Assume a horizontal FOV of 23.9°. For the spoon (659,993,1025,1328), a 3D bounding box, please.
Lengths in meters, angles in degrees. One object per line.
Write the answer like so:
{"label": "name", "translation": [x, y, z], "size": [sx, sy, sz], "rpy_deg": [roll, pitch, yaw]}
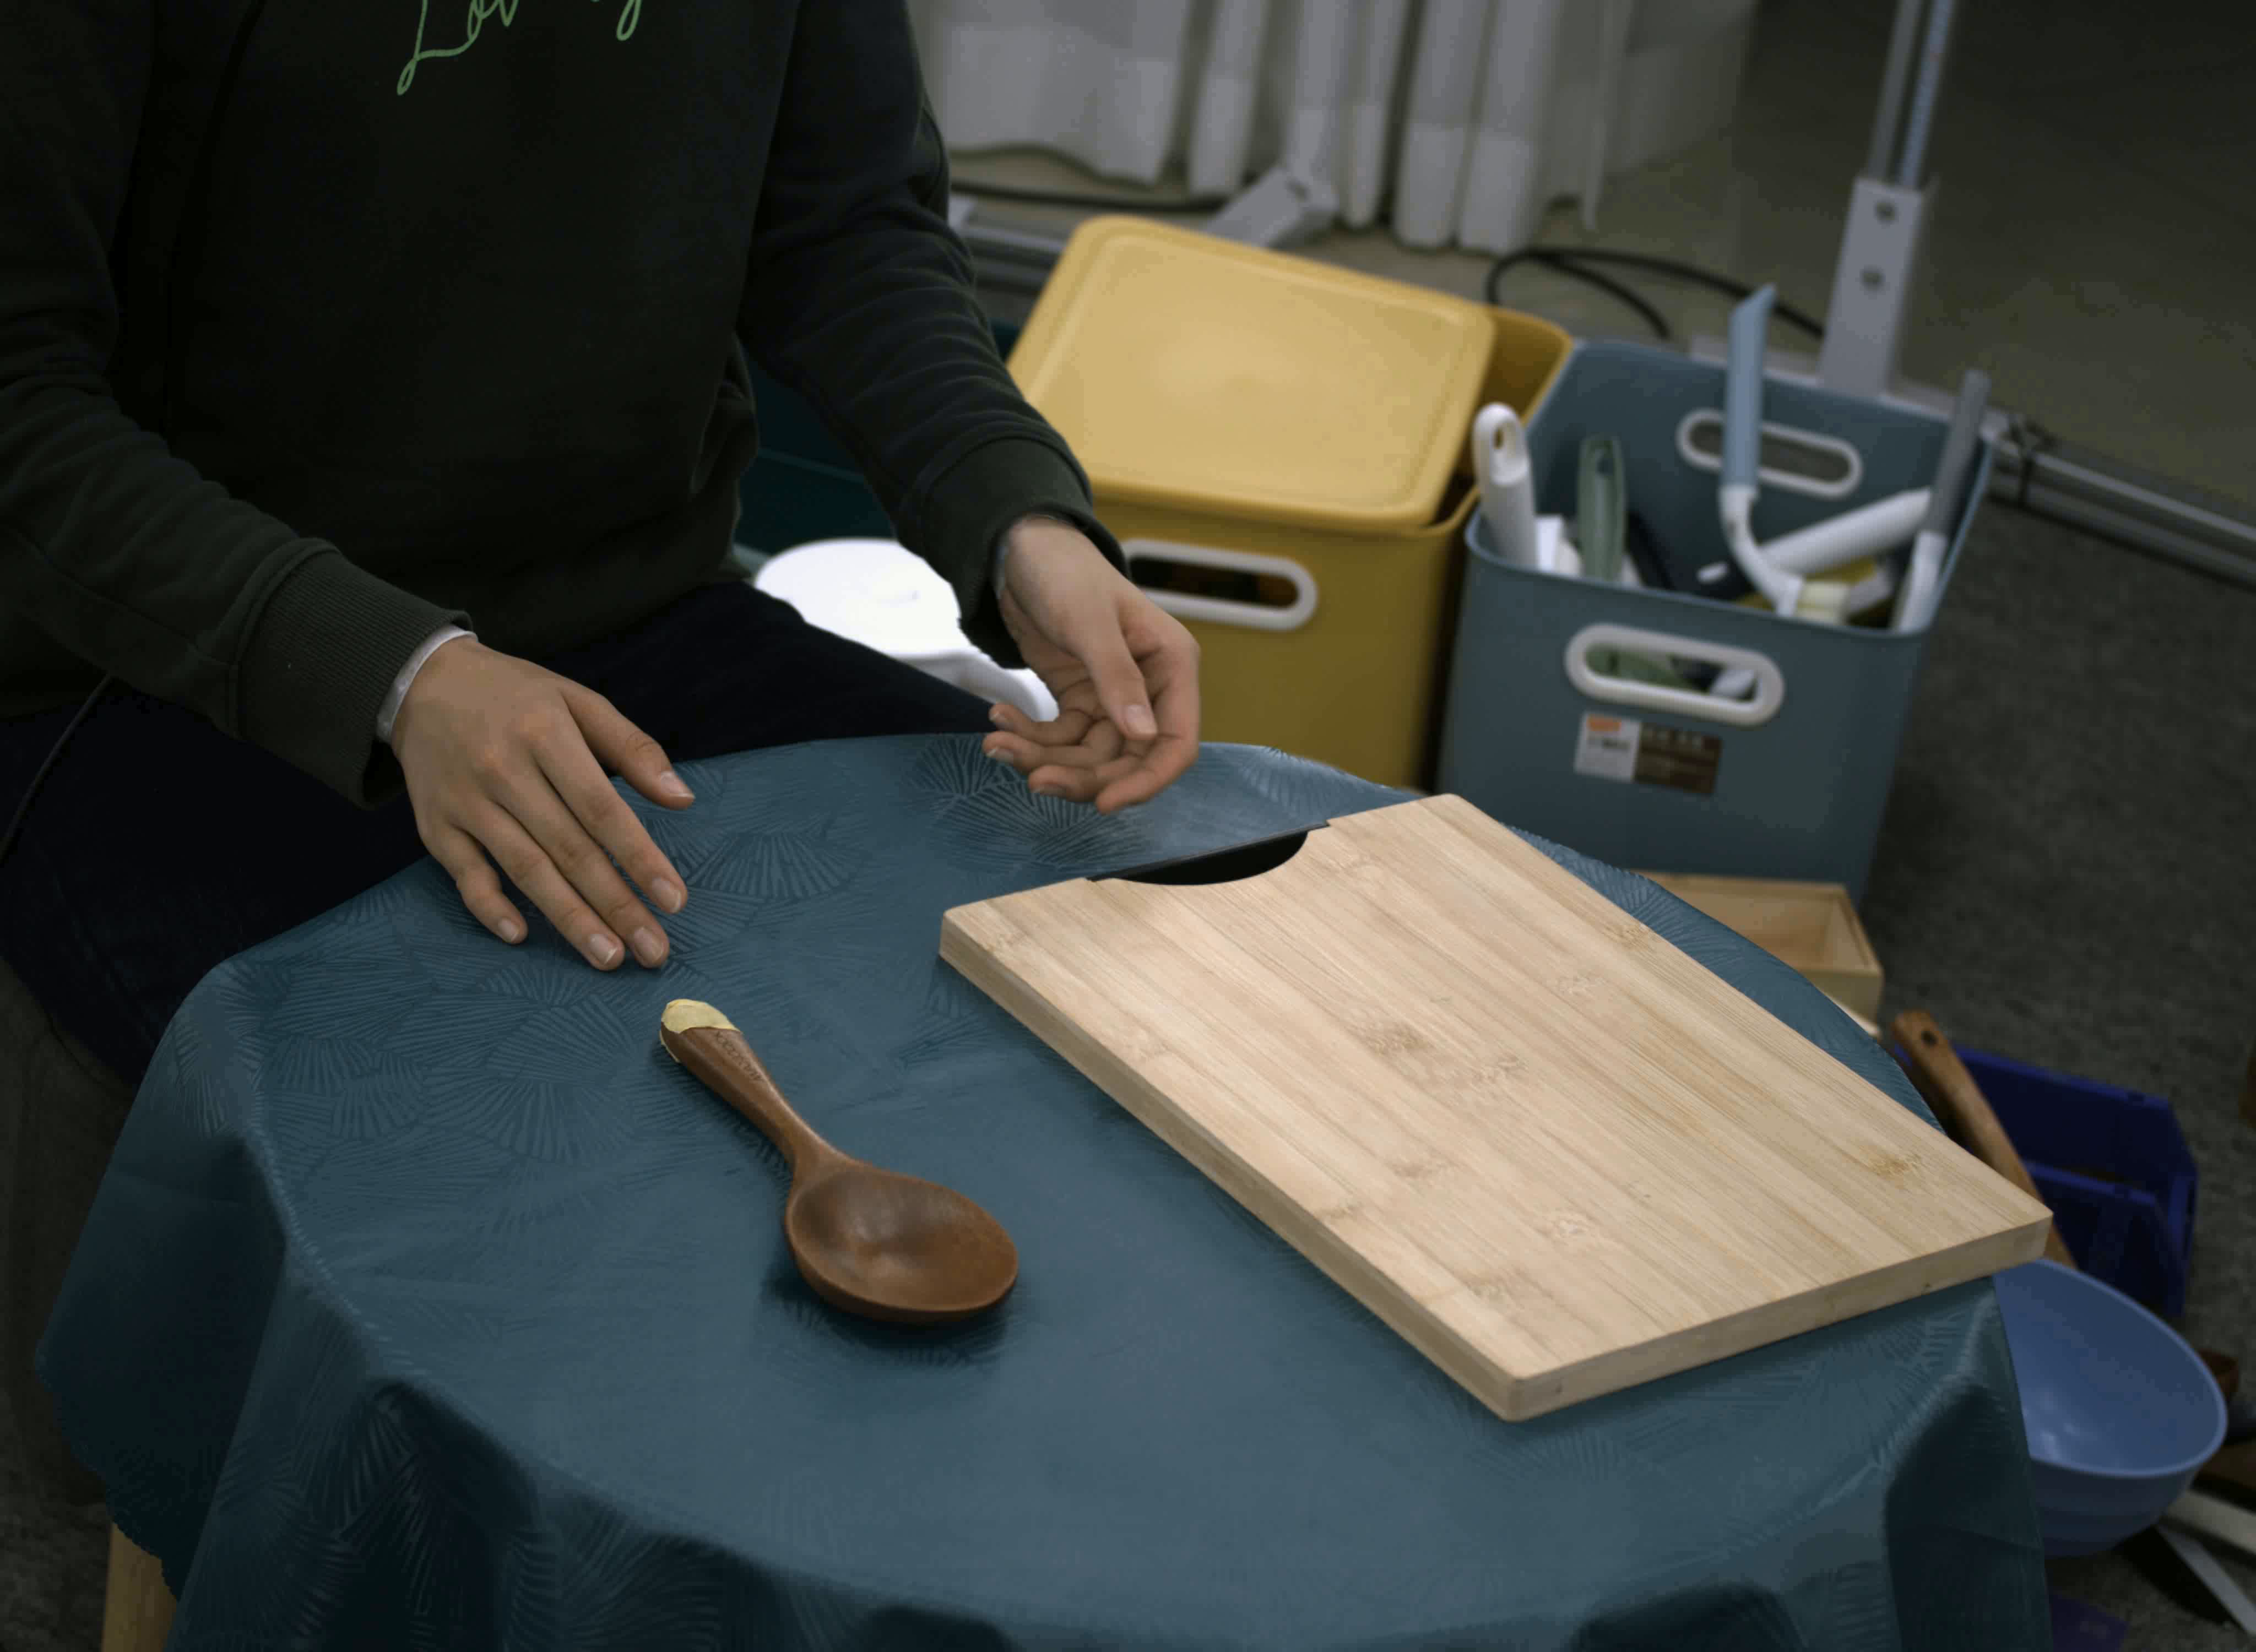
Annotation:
{"label": "spoon", "translation": [-0.104, 0.112, 1.780], "size": [0.075, 0.017, 0.218], "rpy_deg": [-10, 32, -27]}

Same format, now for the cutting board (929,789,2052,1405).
{"label": "cutting board", "translation": [0.121, 0.088, 1.881], "size": [0.249, 0.023, 0.352], "rpy_deg": [-12, 32, -34]}
